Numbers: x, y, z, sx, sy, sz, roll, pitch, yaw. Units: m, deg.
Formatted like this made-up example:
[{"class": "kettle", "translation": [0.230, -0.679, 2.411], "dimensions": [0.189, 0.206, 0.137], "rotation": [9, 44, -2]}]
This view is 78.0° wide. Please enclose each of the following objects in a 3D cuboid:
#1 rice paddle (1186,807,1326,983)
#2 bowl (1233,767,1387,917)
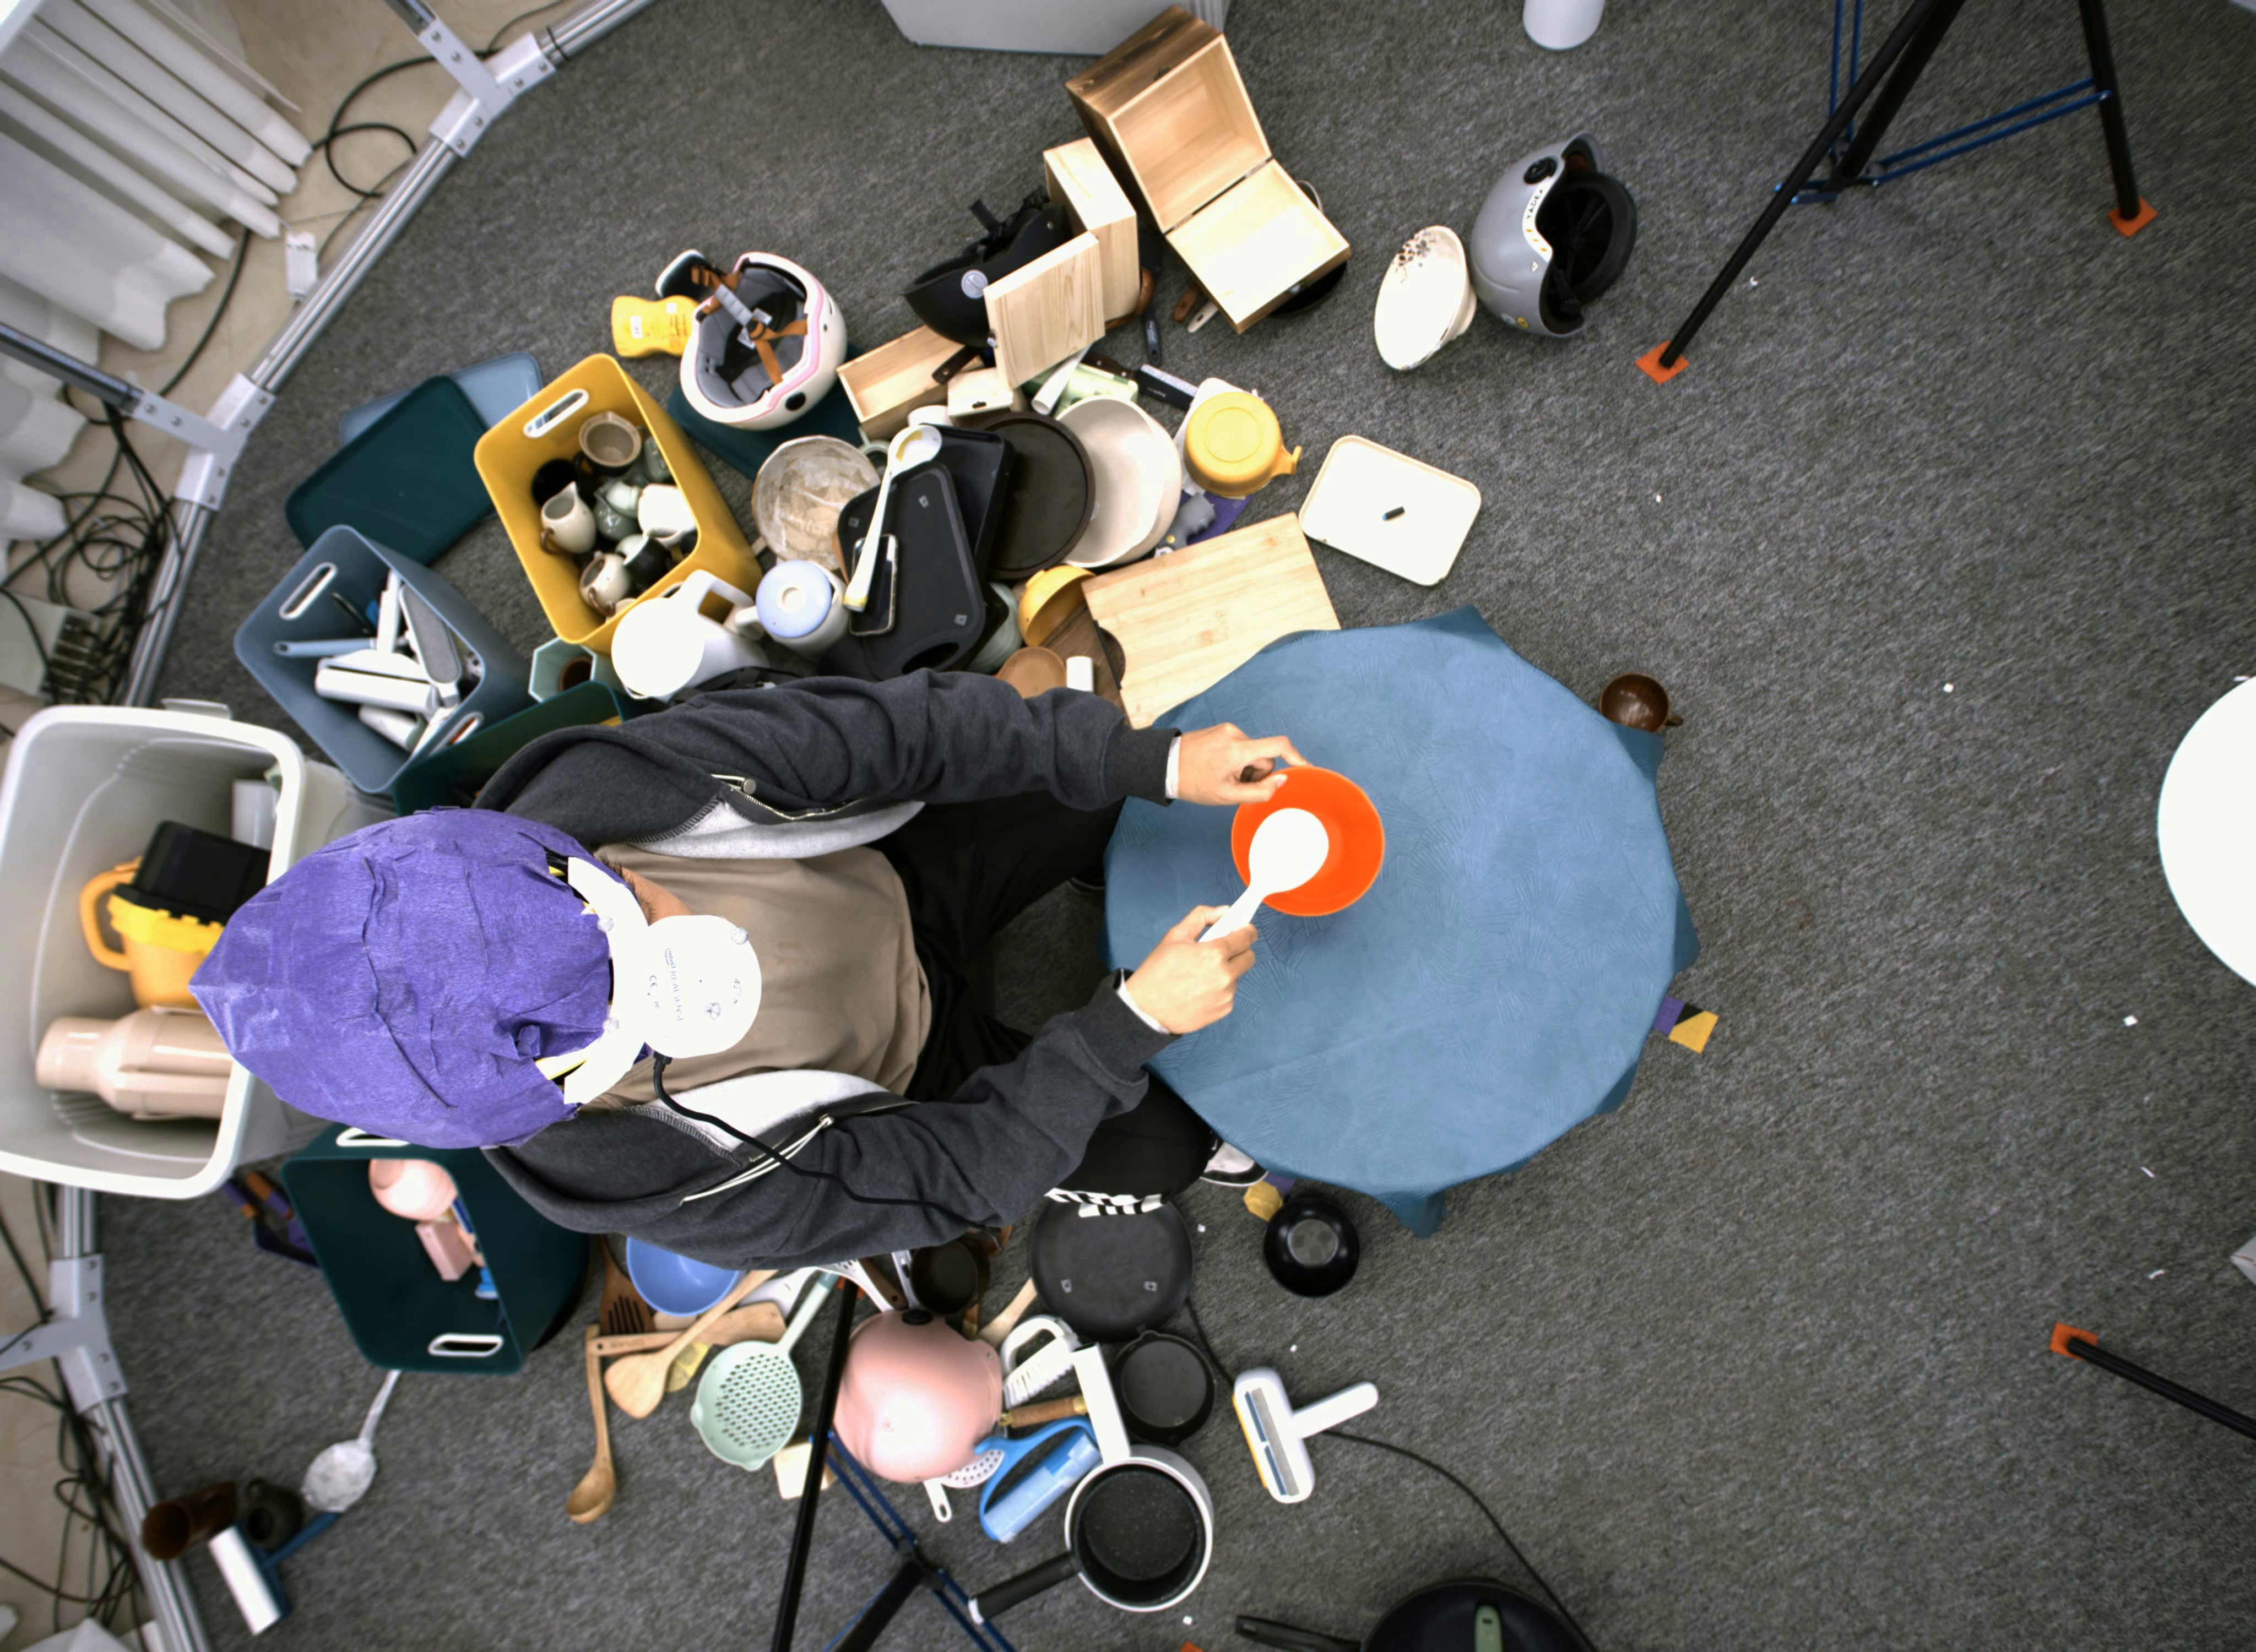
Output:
[{"class": "rice paddle", "translation": [0.120, 0.058, 1.285], "dimensions": [0.069, 0.030, 0.201], "rotation": [37, 65, 3]}, {"class": "bowl", "translation": [0.181, 0.012, 1.364], "dimensions": [0.148, 0.103, 0.149], "rotation": [2, 98, 12]}]
